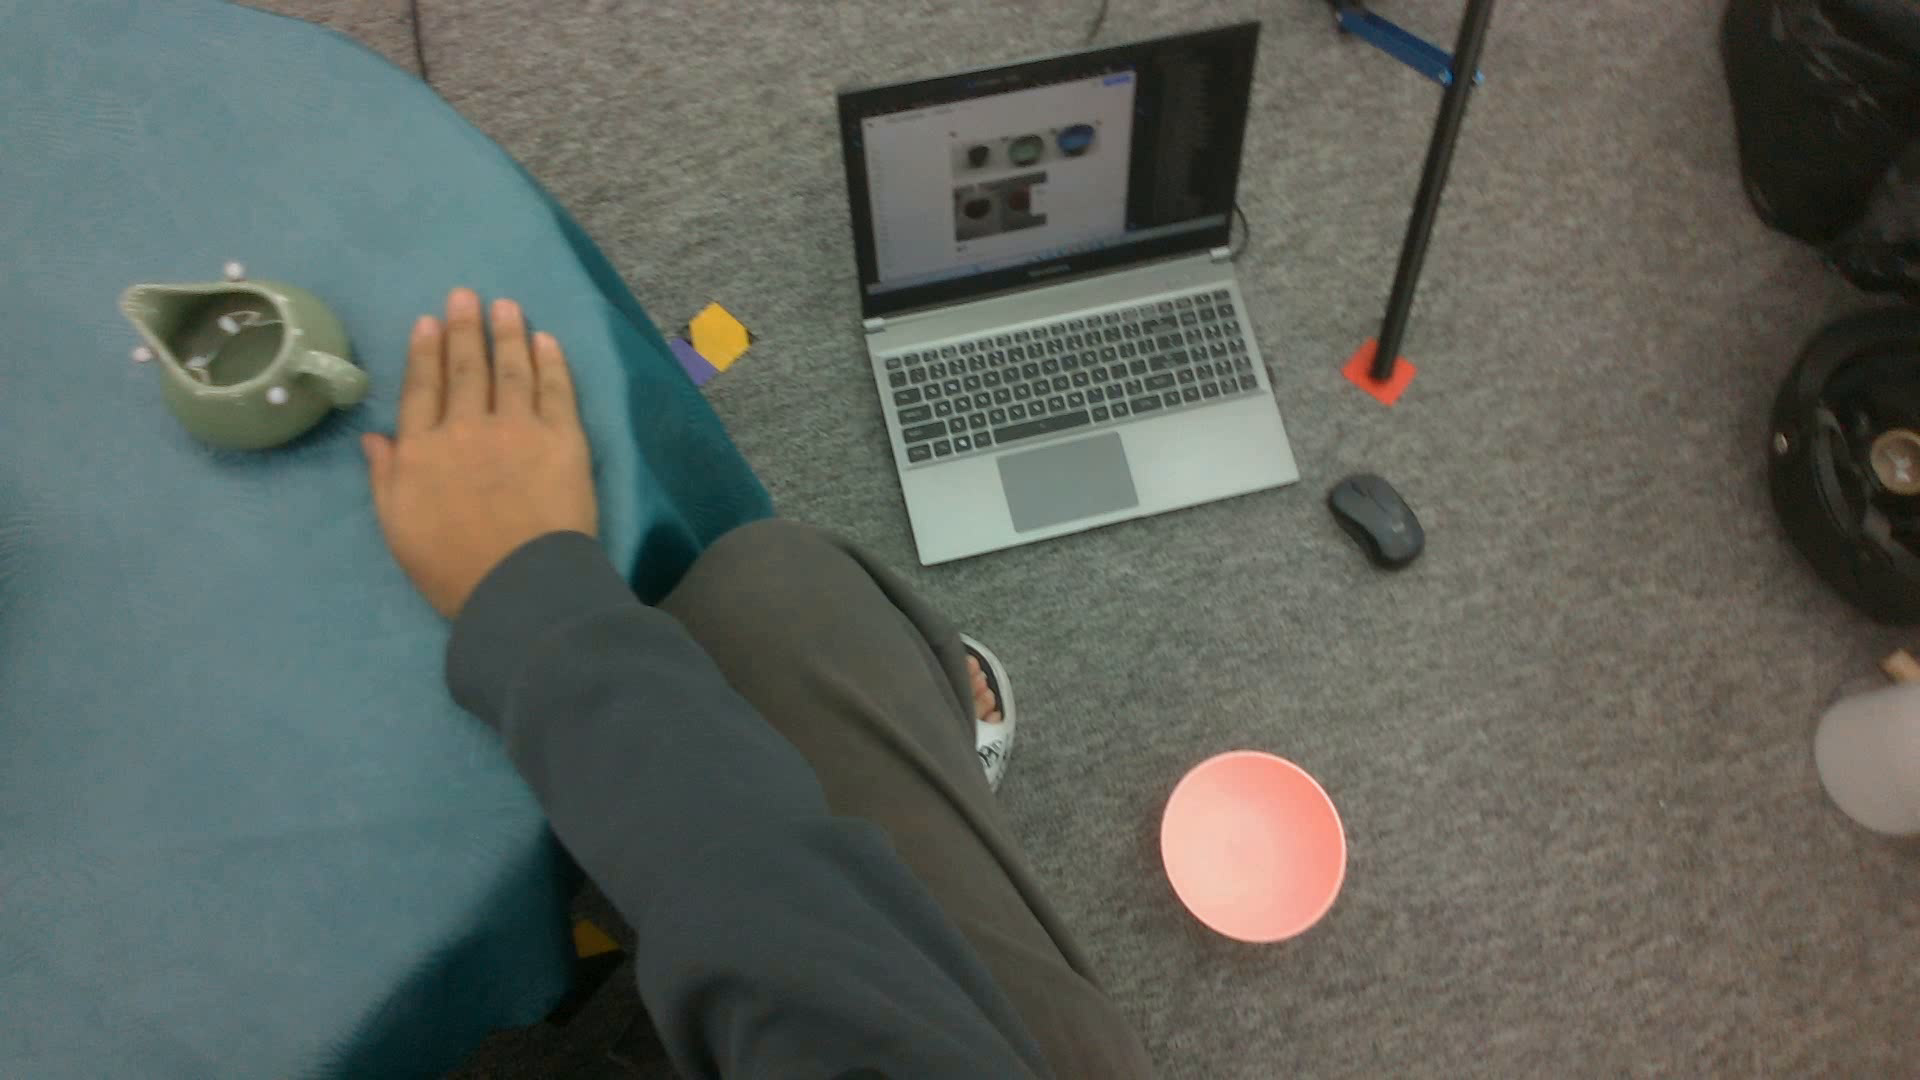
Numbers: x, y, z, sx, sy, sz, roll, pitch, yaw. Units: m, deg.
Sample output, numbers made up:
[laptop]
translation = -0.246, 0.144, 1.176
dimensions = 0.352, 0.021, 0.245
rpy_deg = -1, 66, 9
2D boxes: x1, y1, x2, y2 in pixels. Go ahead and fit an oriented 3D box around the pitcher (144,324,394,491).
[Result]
[pitcher]
translation = -0.323, -0.066, 0.659
dimensions = 0.112, 0.056, 0.084
rpy_deg = 14, 73, 0
